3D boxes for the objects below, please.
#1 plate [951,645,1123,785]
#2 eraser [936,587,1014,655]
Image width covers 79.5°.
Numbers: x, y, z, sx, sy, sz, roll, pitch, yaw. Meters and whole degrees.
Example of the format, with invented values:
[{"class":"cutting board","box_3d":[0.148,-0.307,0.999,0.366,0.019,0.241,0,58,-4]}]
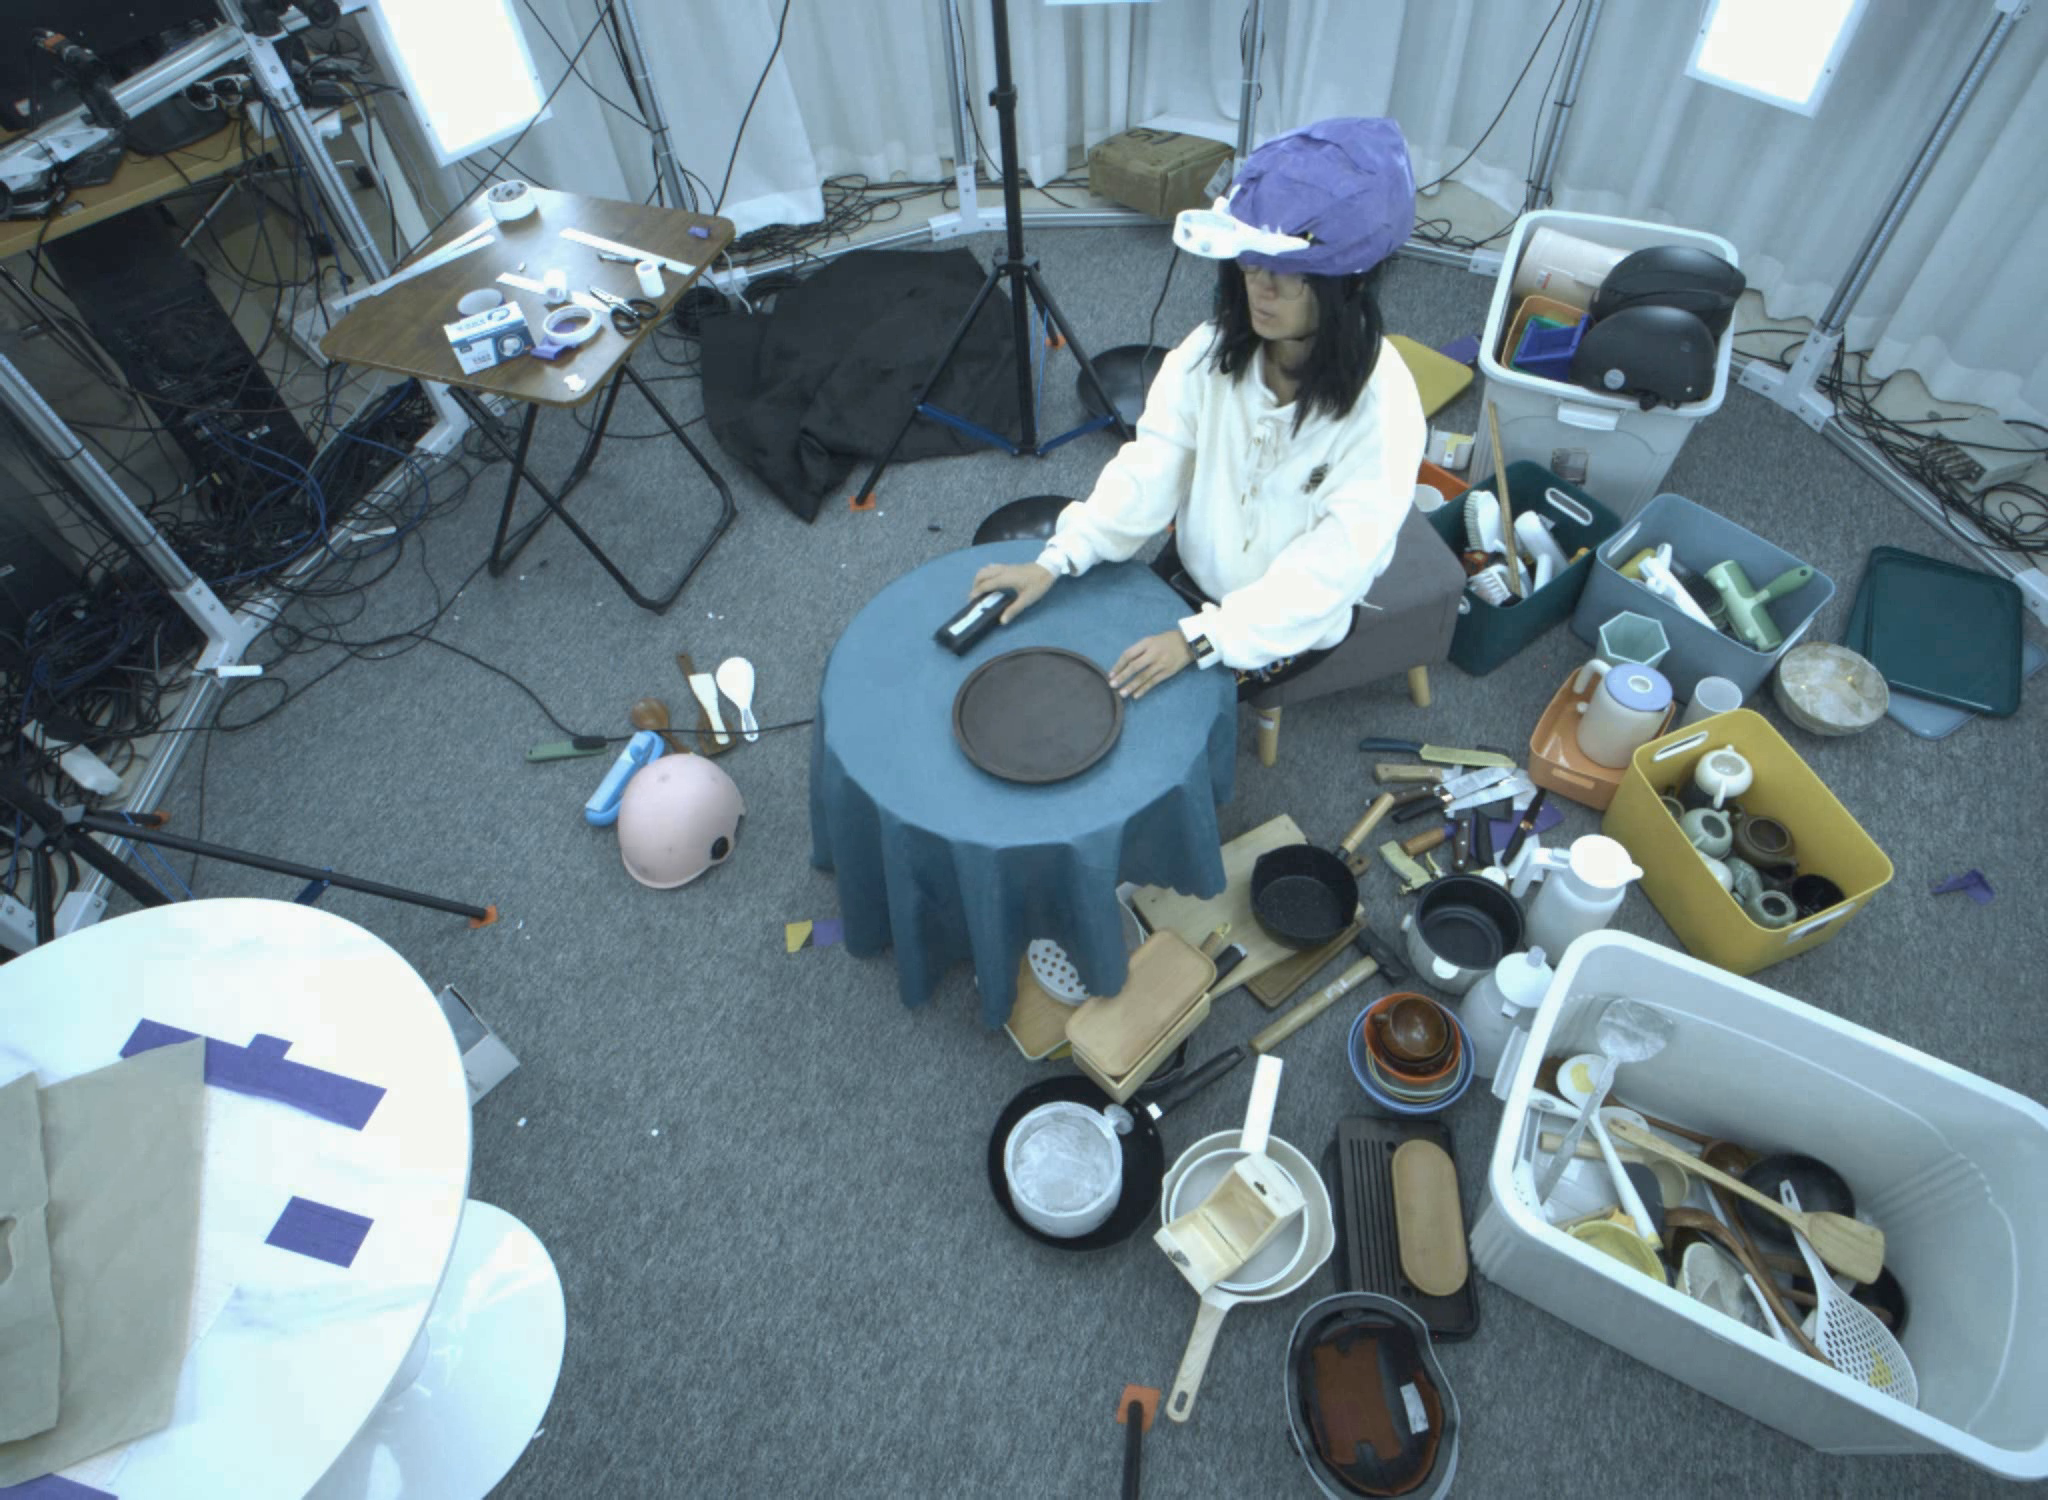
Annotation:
[{"class":"plate","box_3d":[0.019,-0.052,1.810,0.254,0.029,0.252,-1,56,3]},{"class":"eraser","box_3d":[-0.077,-0.202,1.917,0.052,0.031,0.126,36,62,22]}]
